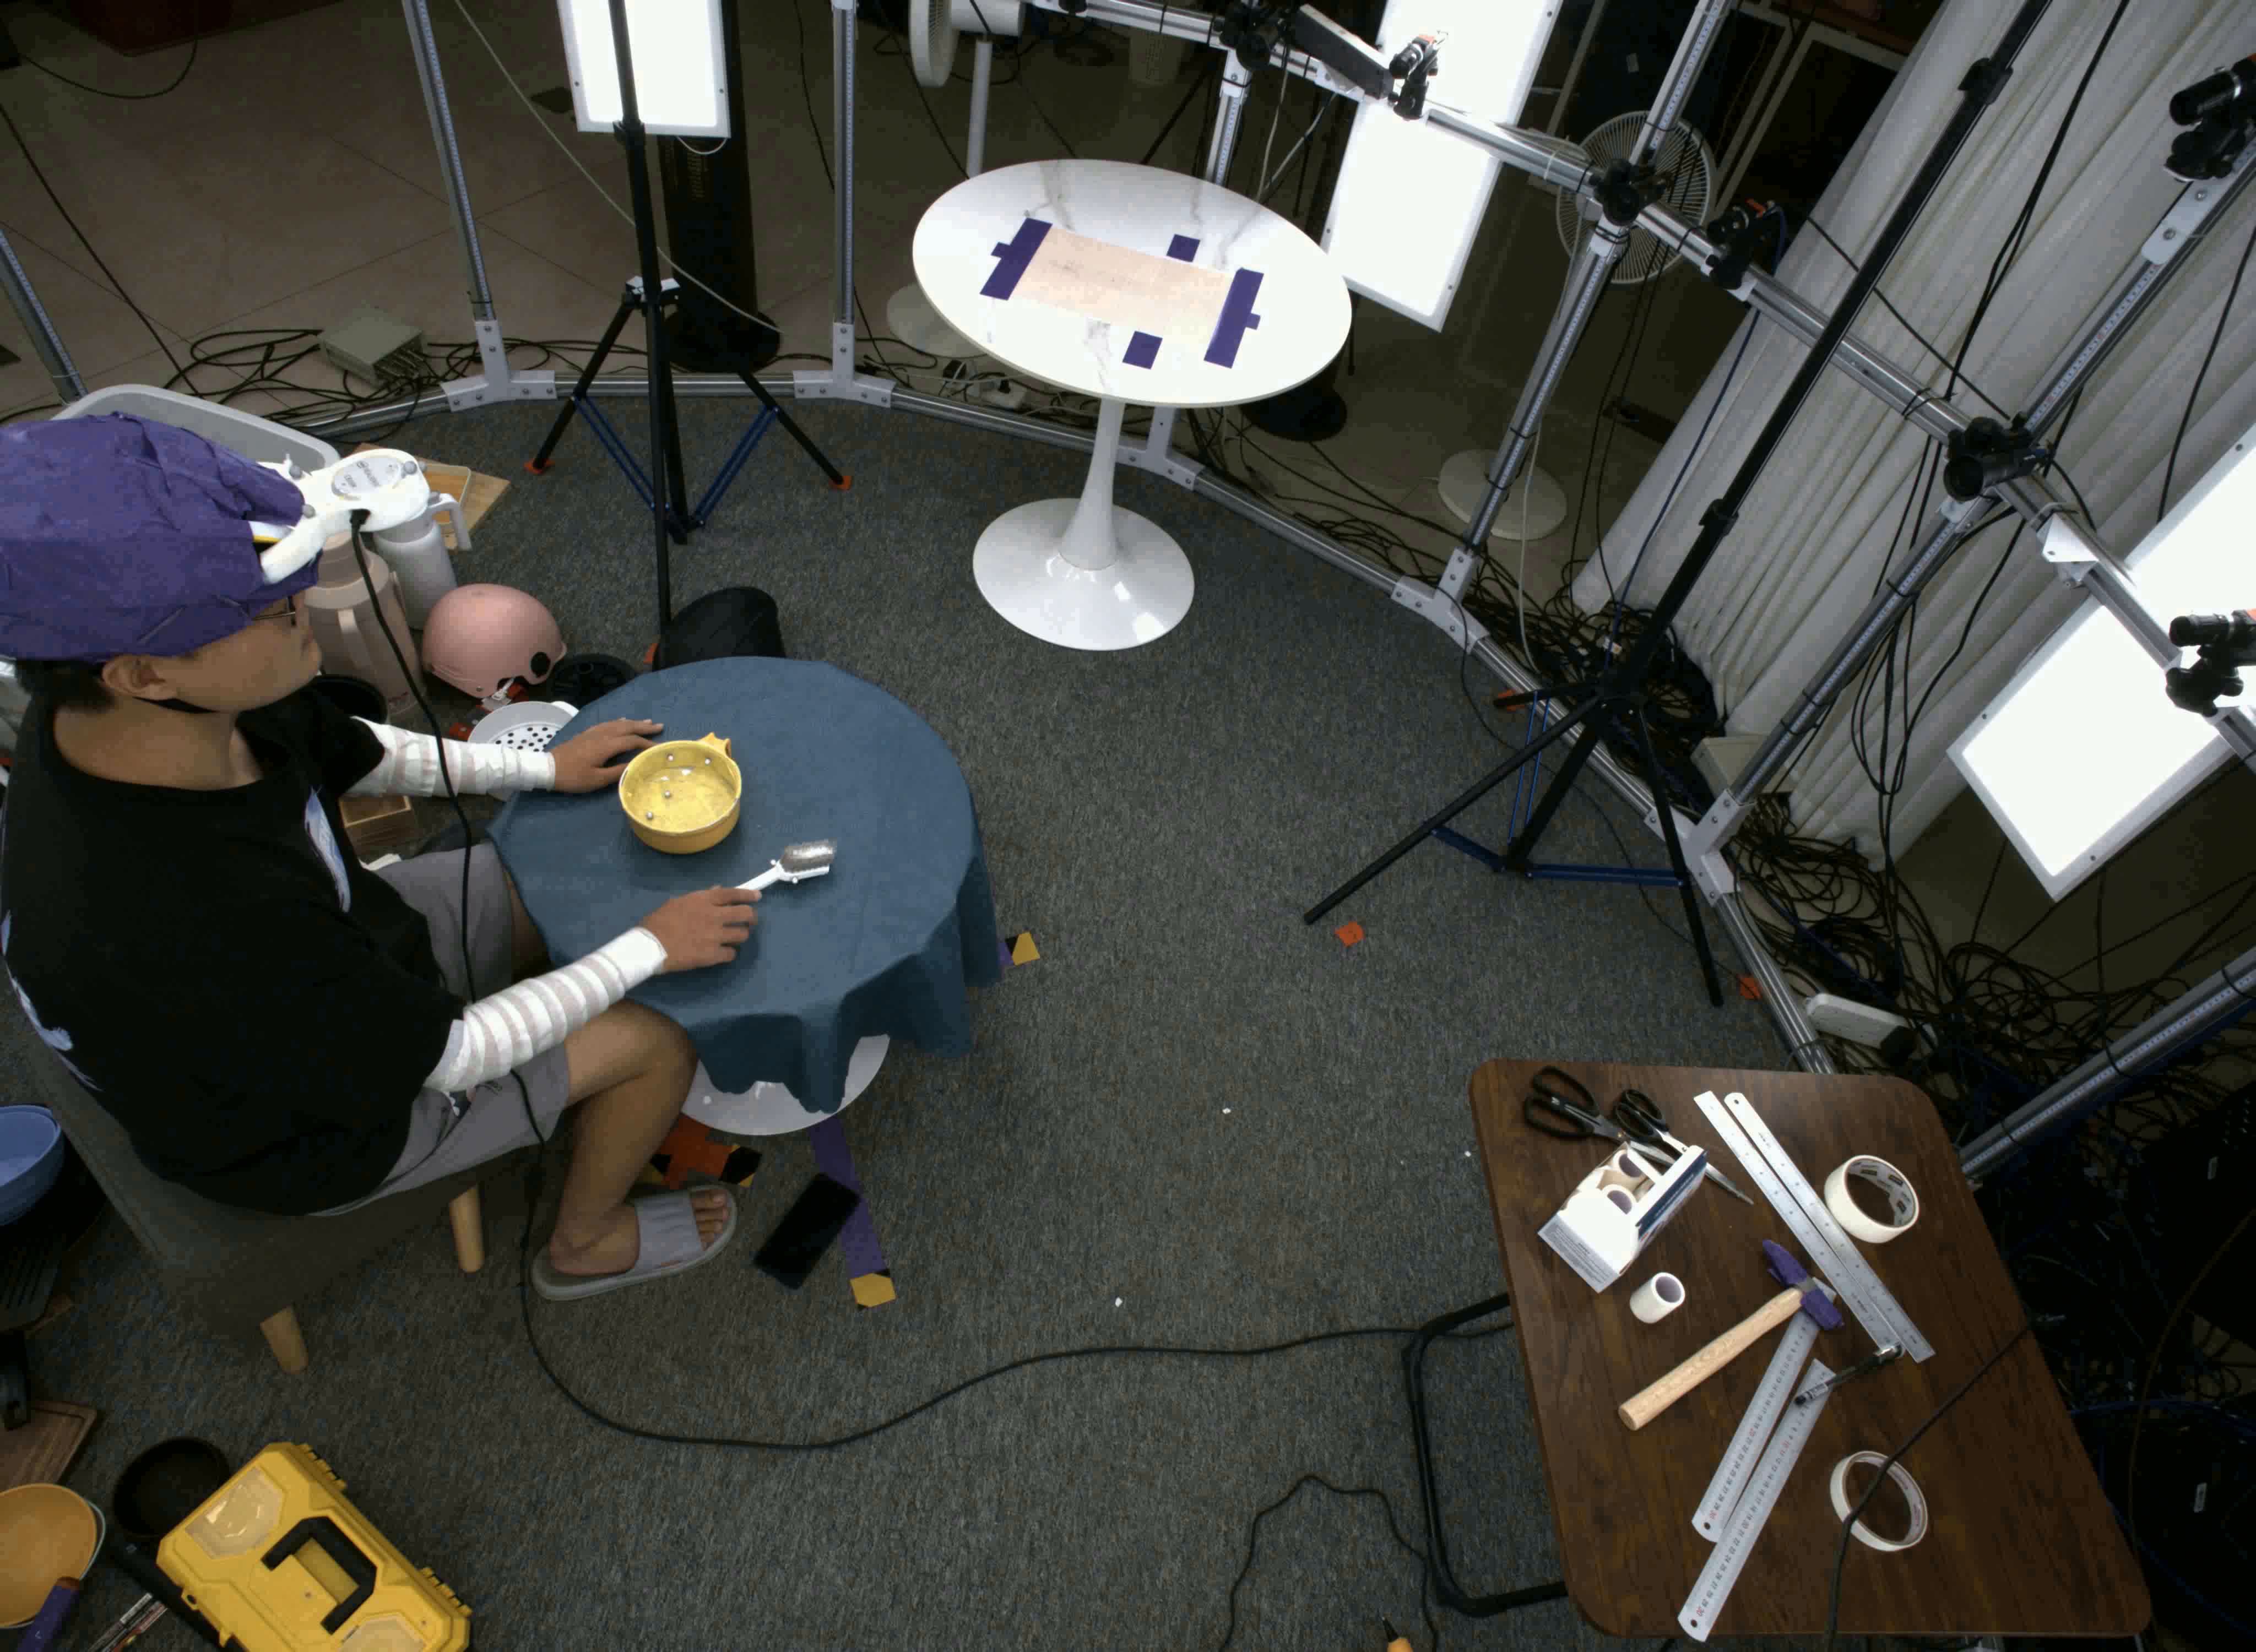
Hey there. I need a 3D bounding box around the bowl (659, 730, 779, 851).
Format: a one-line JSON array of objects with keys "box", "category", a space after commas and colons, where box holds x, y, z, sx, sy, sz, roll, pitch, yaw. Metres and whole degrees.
[{"box": [-0.528, -0.048, 1.702, 0.151, 0.076, 0.177, 19, 53, 3], "category": "bowl"}]

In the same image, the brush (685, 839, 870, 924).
[{"box": [-0.446, 0.066, 1.648, 0.245, 0.051, 0.033, -19, 60, -25], "category": "brush"}]
